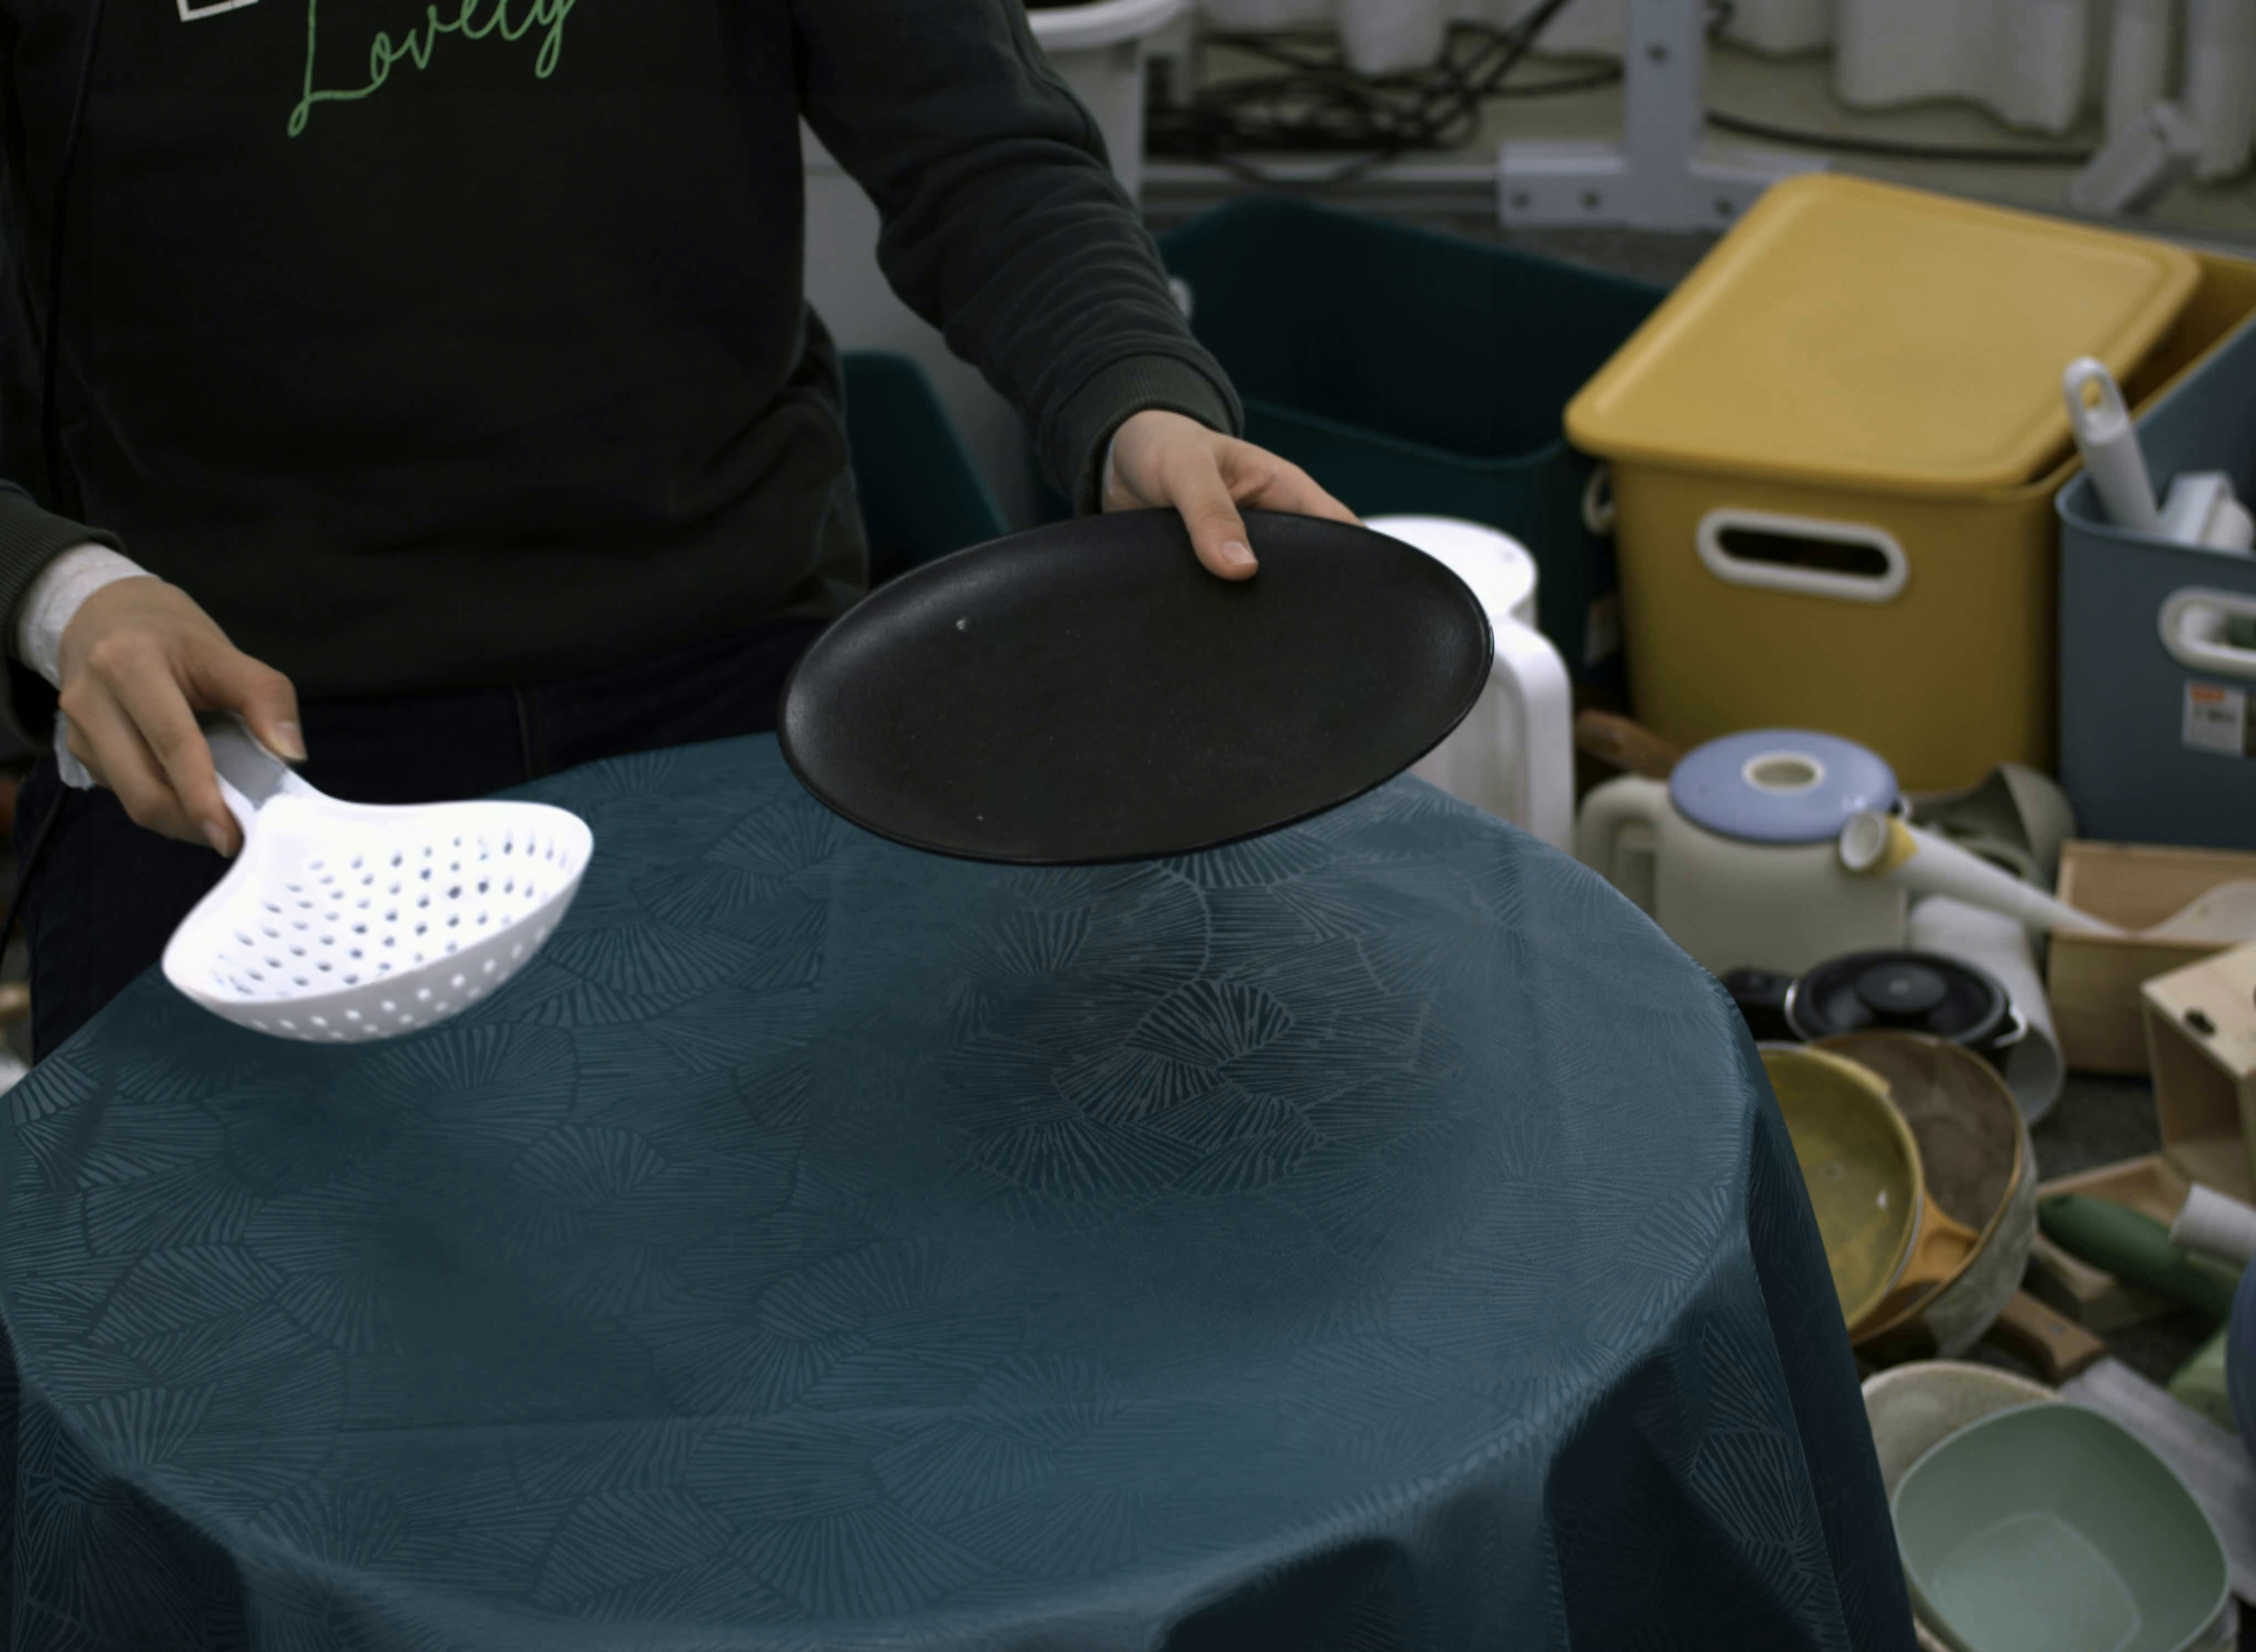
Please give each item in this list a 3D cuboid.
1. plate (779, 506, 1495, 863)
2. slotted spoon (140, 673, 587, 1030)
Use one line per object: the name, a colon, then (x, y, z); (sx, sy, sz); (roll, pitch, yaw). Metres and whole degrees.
plate: (0.004, -0.043, 1.893); (0.243, 0.023, 0.248); (-6, 29, 3)
slotted spoon: (-0.270, 0.000, 1.819); (0.136, 0.045, 0.351); (-20, 26, -17)
